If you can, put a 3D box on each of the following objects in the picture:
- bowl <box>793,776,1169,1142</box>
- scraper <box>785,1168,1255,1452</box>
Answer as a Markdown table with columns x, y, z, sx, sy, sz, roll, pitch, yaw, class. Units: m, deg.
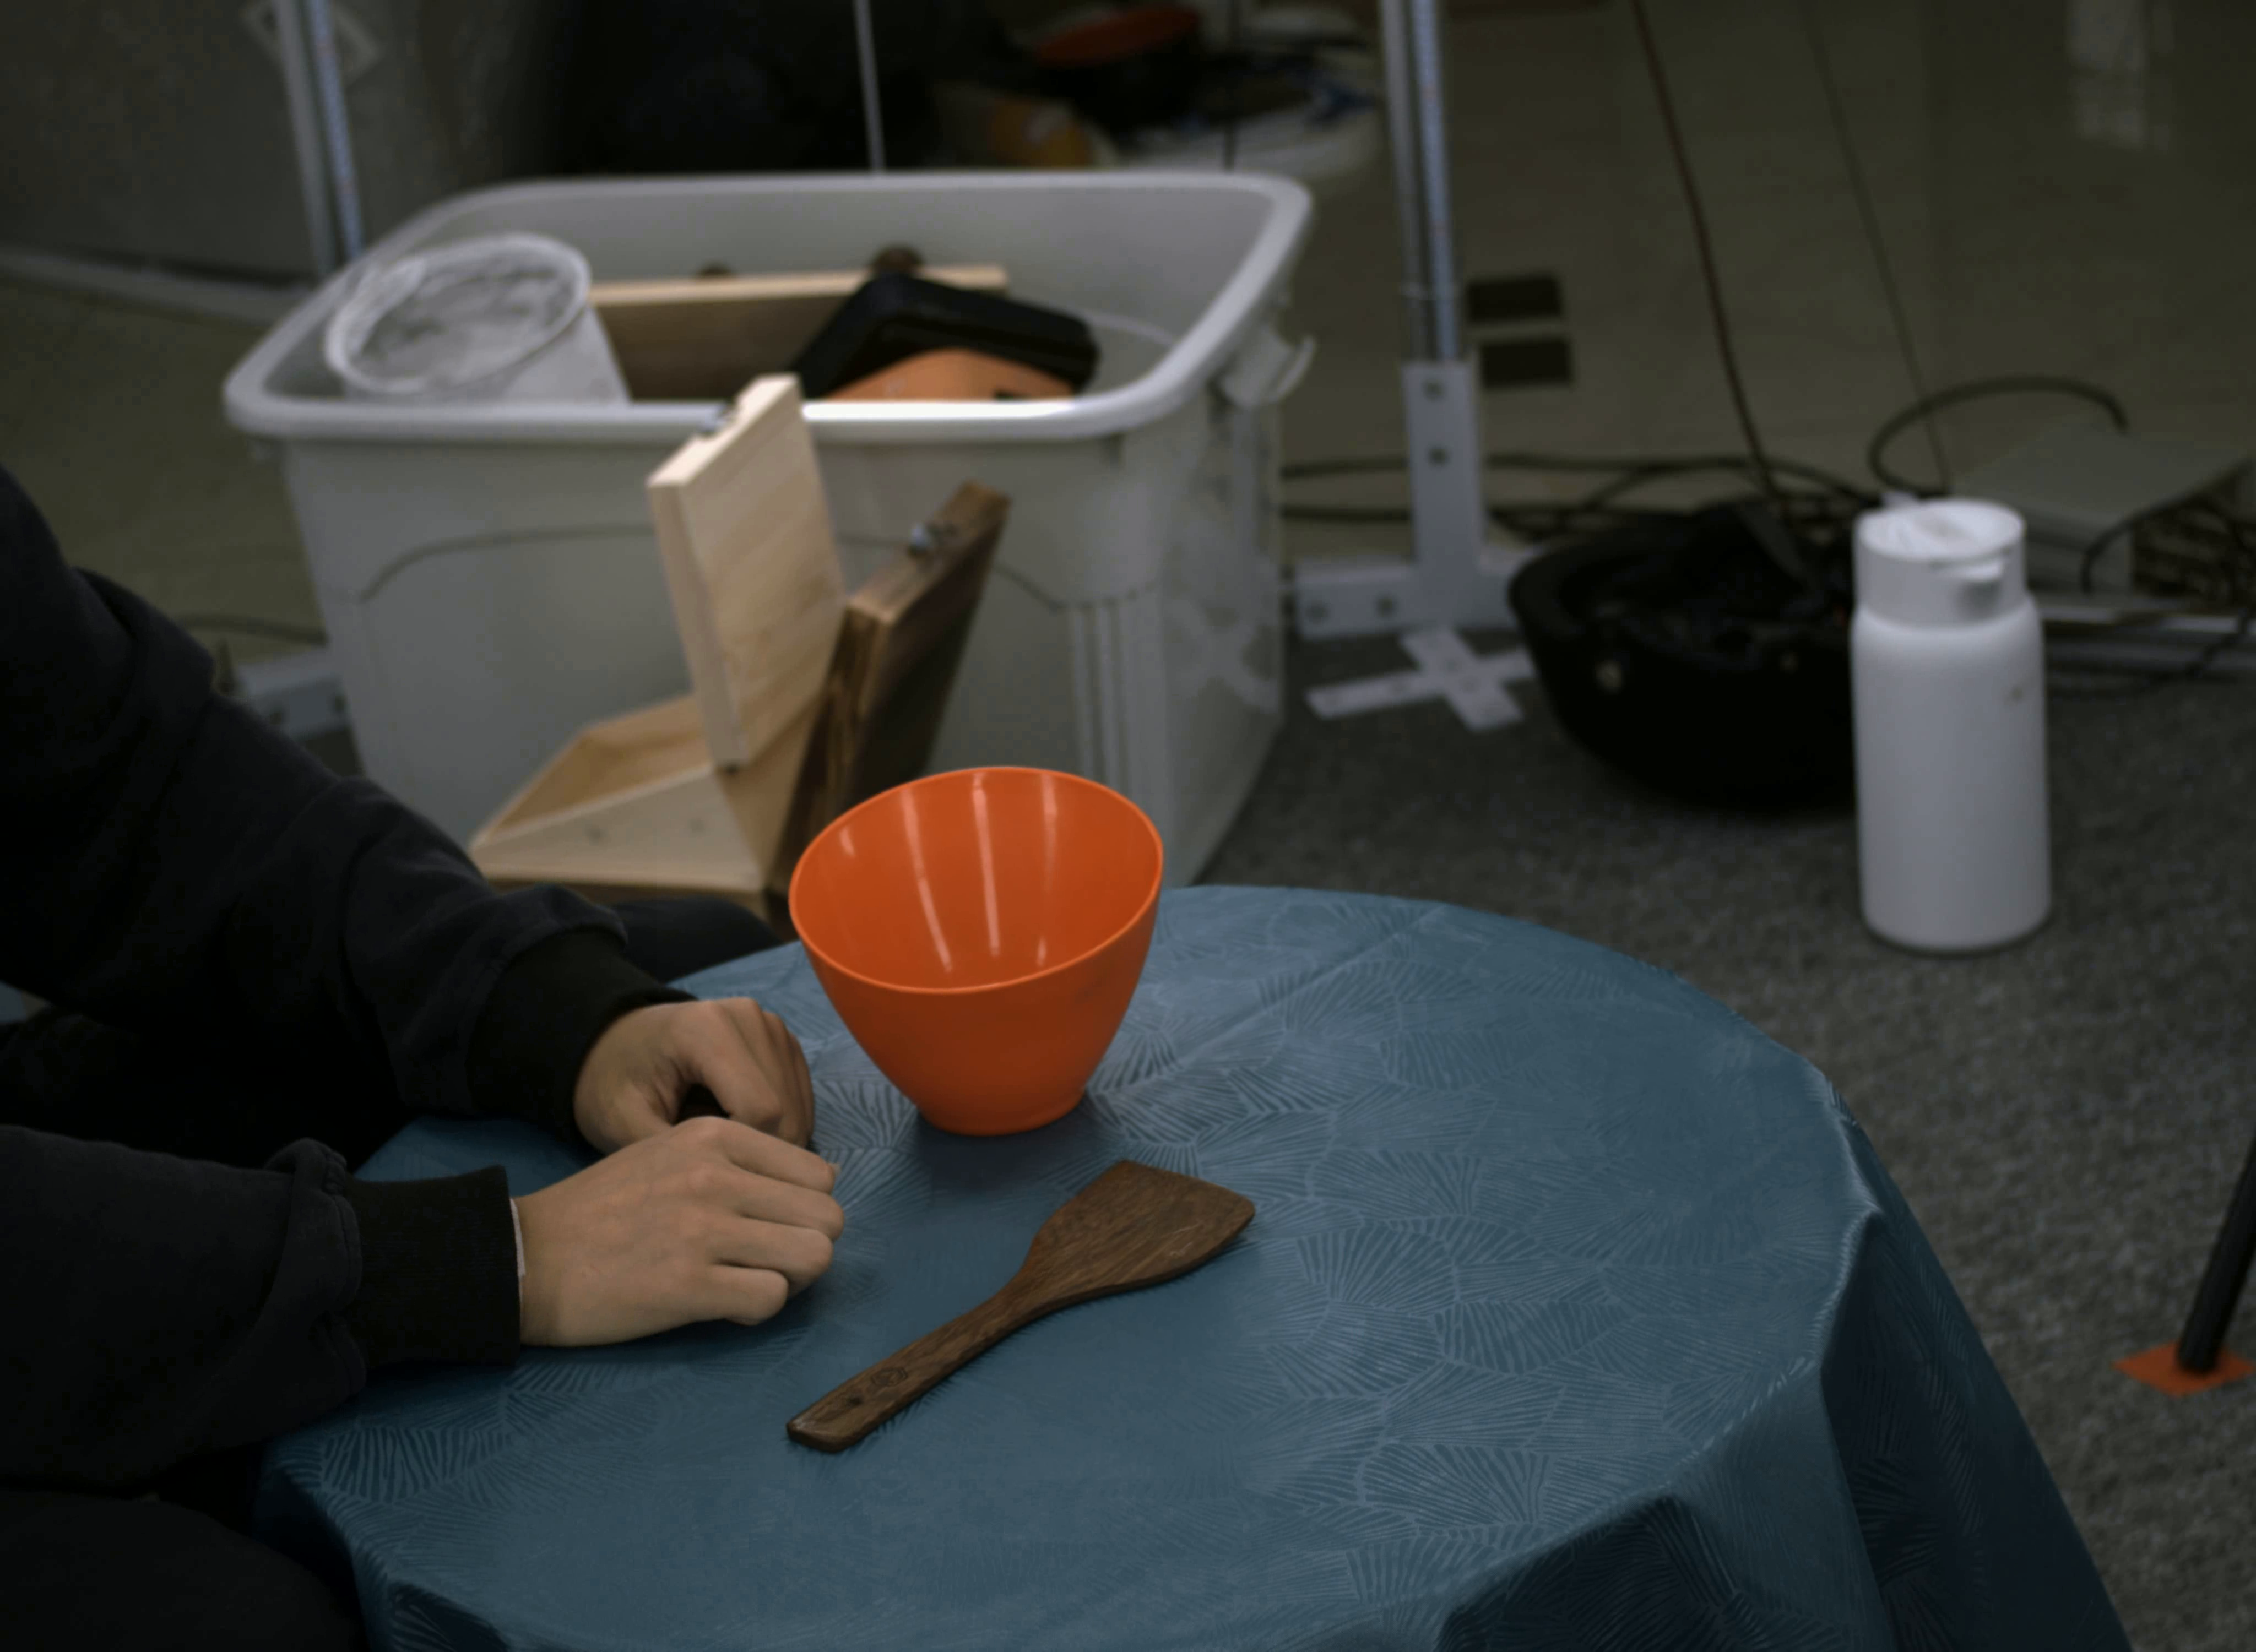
| x | y | z | sx | sy | sz | roll | pitch | yaw | class |
| --- | --- | --- | --- | --- | --- | --- | --- | --- | --- |
| -0.053 | 0.058 | 2.219 | 0.148 | 0.106 | 0.146 | -5 | 25 | 2 | bowl |
| -0.044 | 0.178 | 2.071 | 0.075 | 0.011 | 0.209 | 15 | 33 | 41 | scraper |
